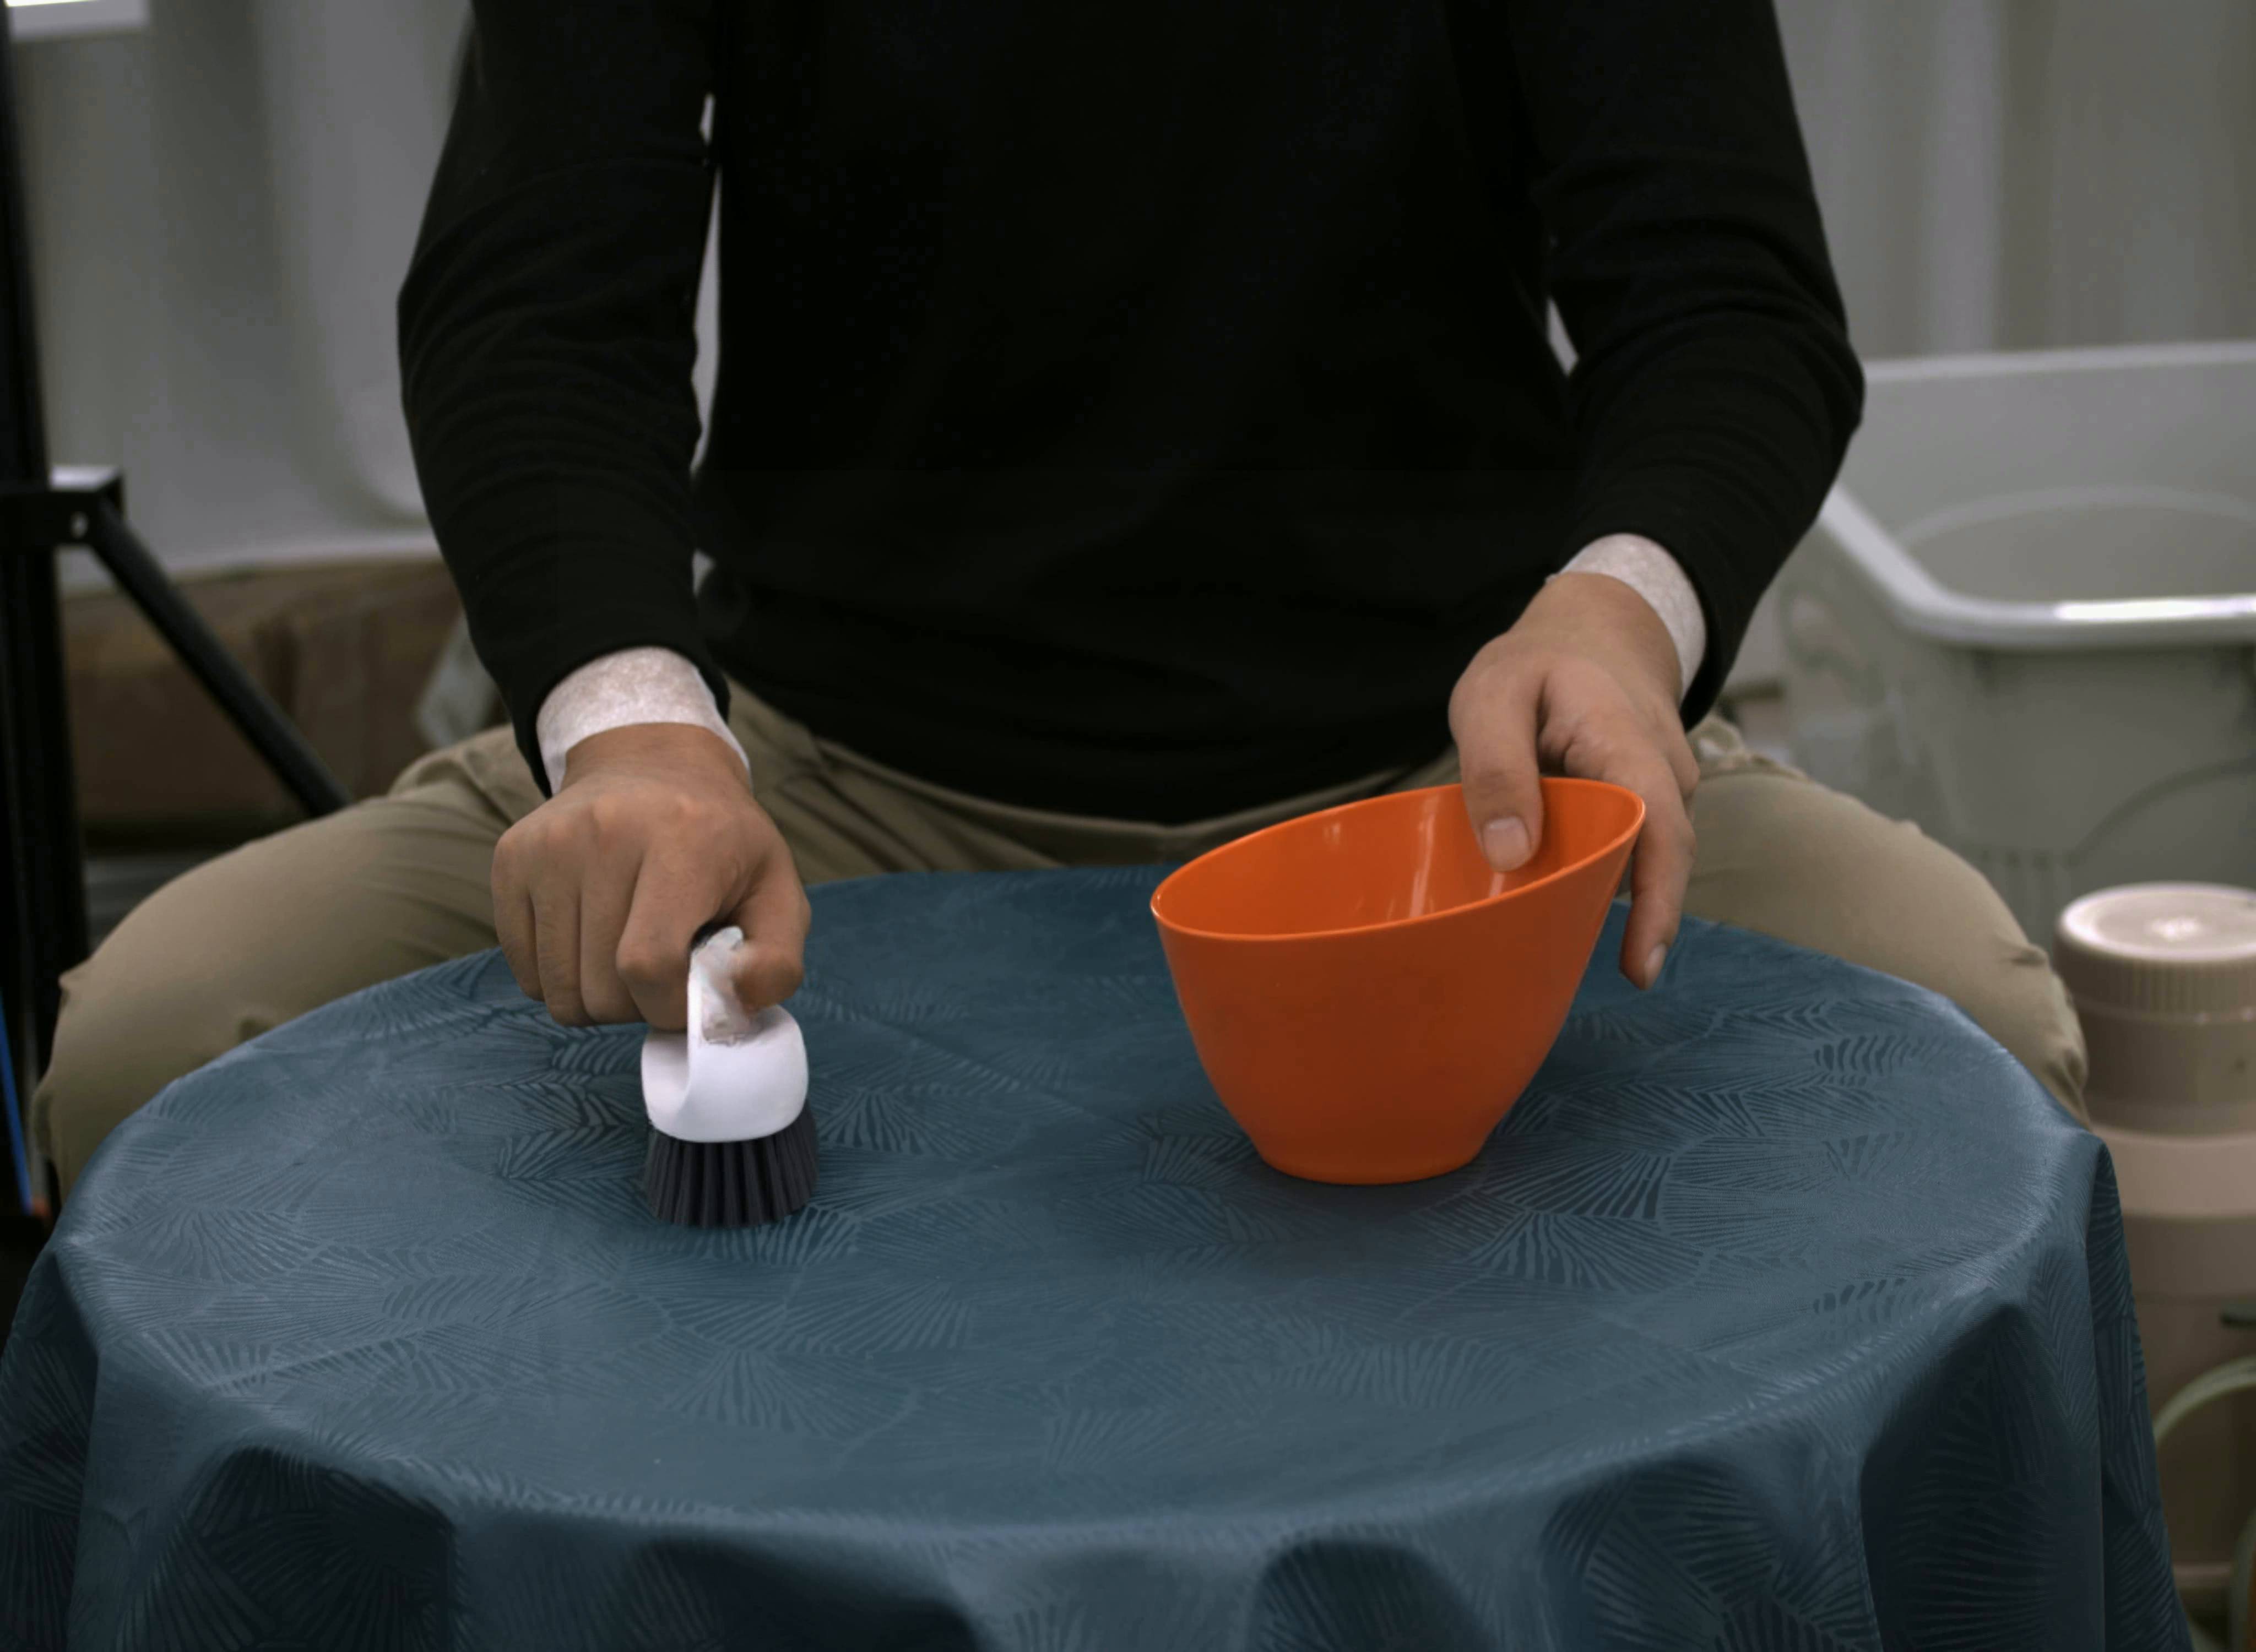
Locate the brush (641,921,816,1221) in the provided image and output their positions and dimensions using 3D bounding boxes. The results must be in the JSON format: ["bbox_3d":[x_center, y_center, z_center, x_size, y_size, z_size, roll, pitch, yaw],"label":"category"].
[{"bbox_3d":[-0.120,0.067,1.582,0.050,0.072,0.100,-4,17,0],"label":"brush"}]

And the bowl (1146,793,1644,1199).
[{"bbox_3d":[0.080,0.052,1.567,0.147,0.104,0.149,-3,14,-1],"label":"bowl"}]
